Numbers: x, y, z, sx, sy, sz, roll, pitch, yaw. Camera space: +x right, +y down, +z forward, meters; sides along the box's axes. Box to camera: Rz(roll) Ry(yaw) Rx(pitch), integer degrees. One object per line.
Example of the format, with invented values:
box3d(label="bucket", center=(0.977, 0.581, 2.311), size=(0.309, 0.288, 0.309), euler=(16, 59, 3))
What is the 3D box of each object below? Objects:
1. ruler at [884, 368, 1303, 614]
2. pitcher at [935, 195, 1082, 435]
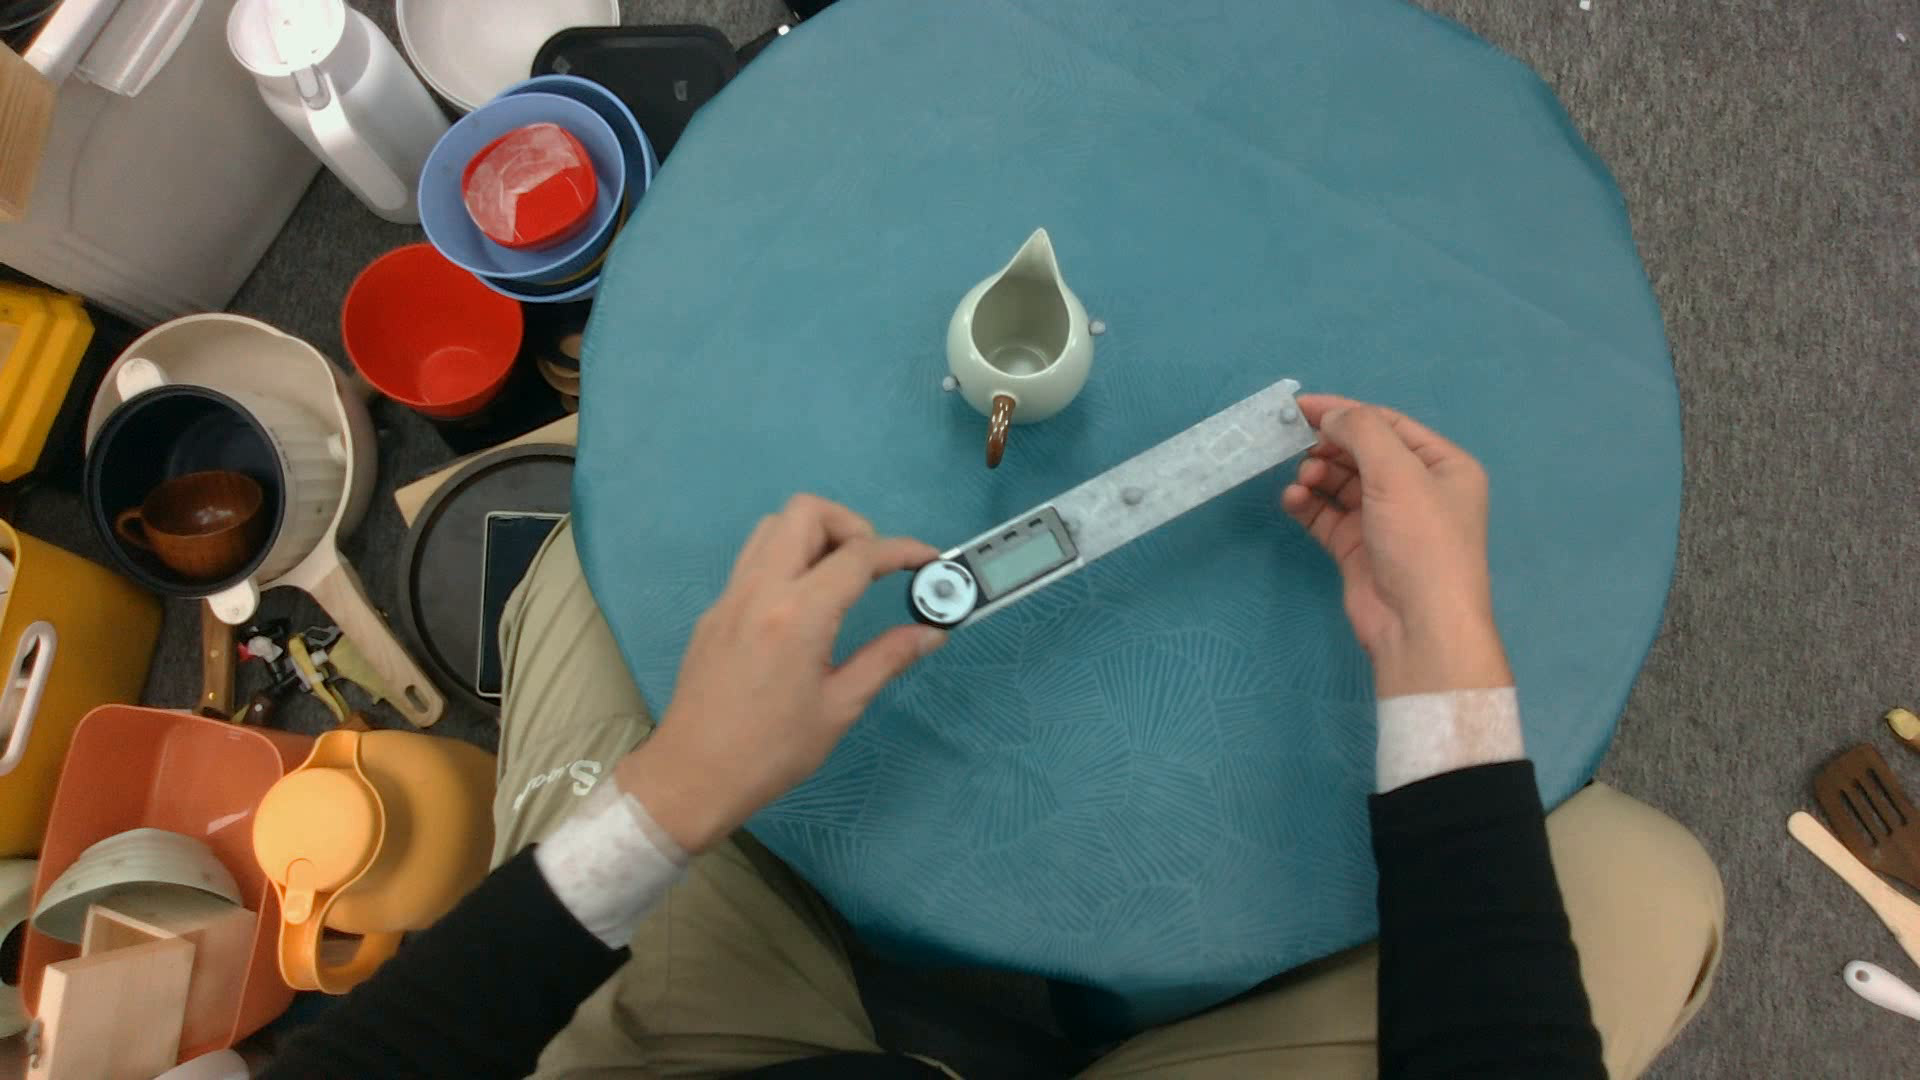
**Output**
box3d(label="ruler", center=(0.065, -0.022, 0.651), size=(0.218, 0.024, 0.038), euler=(-26, 92, -9))
box3d(label="pitcher", center=(0.023, -0.105, 0.712), size=(0.076, 0.087, 0.119), euler=(15, 77, 7))
